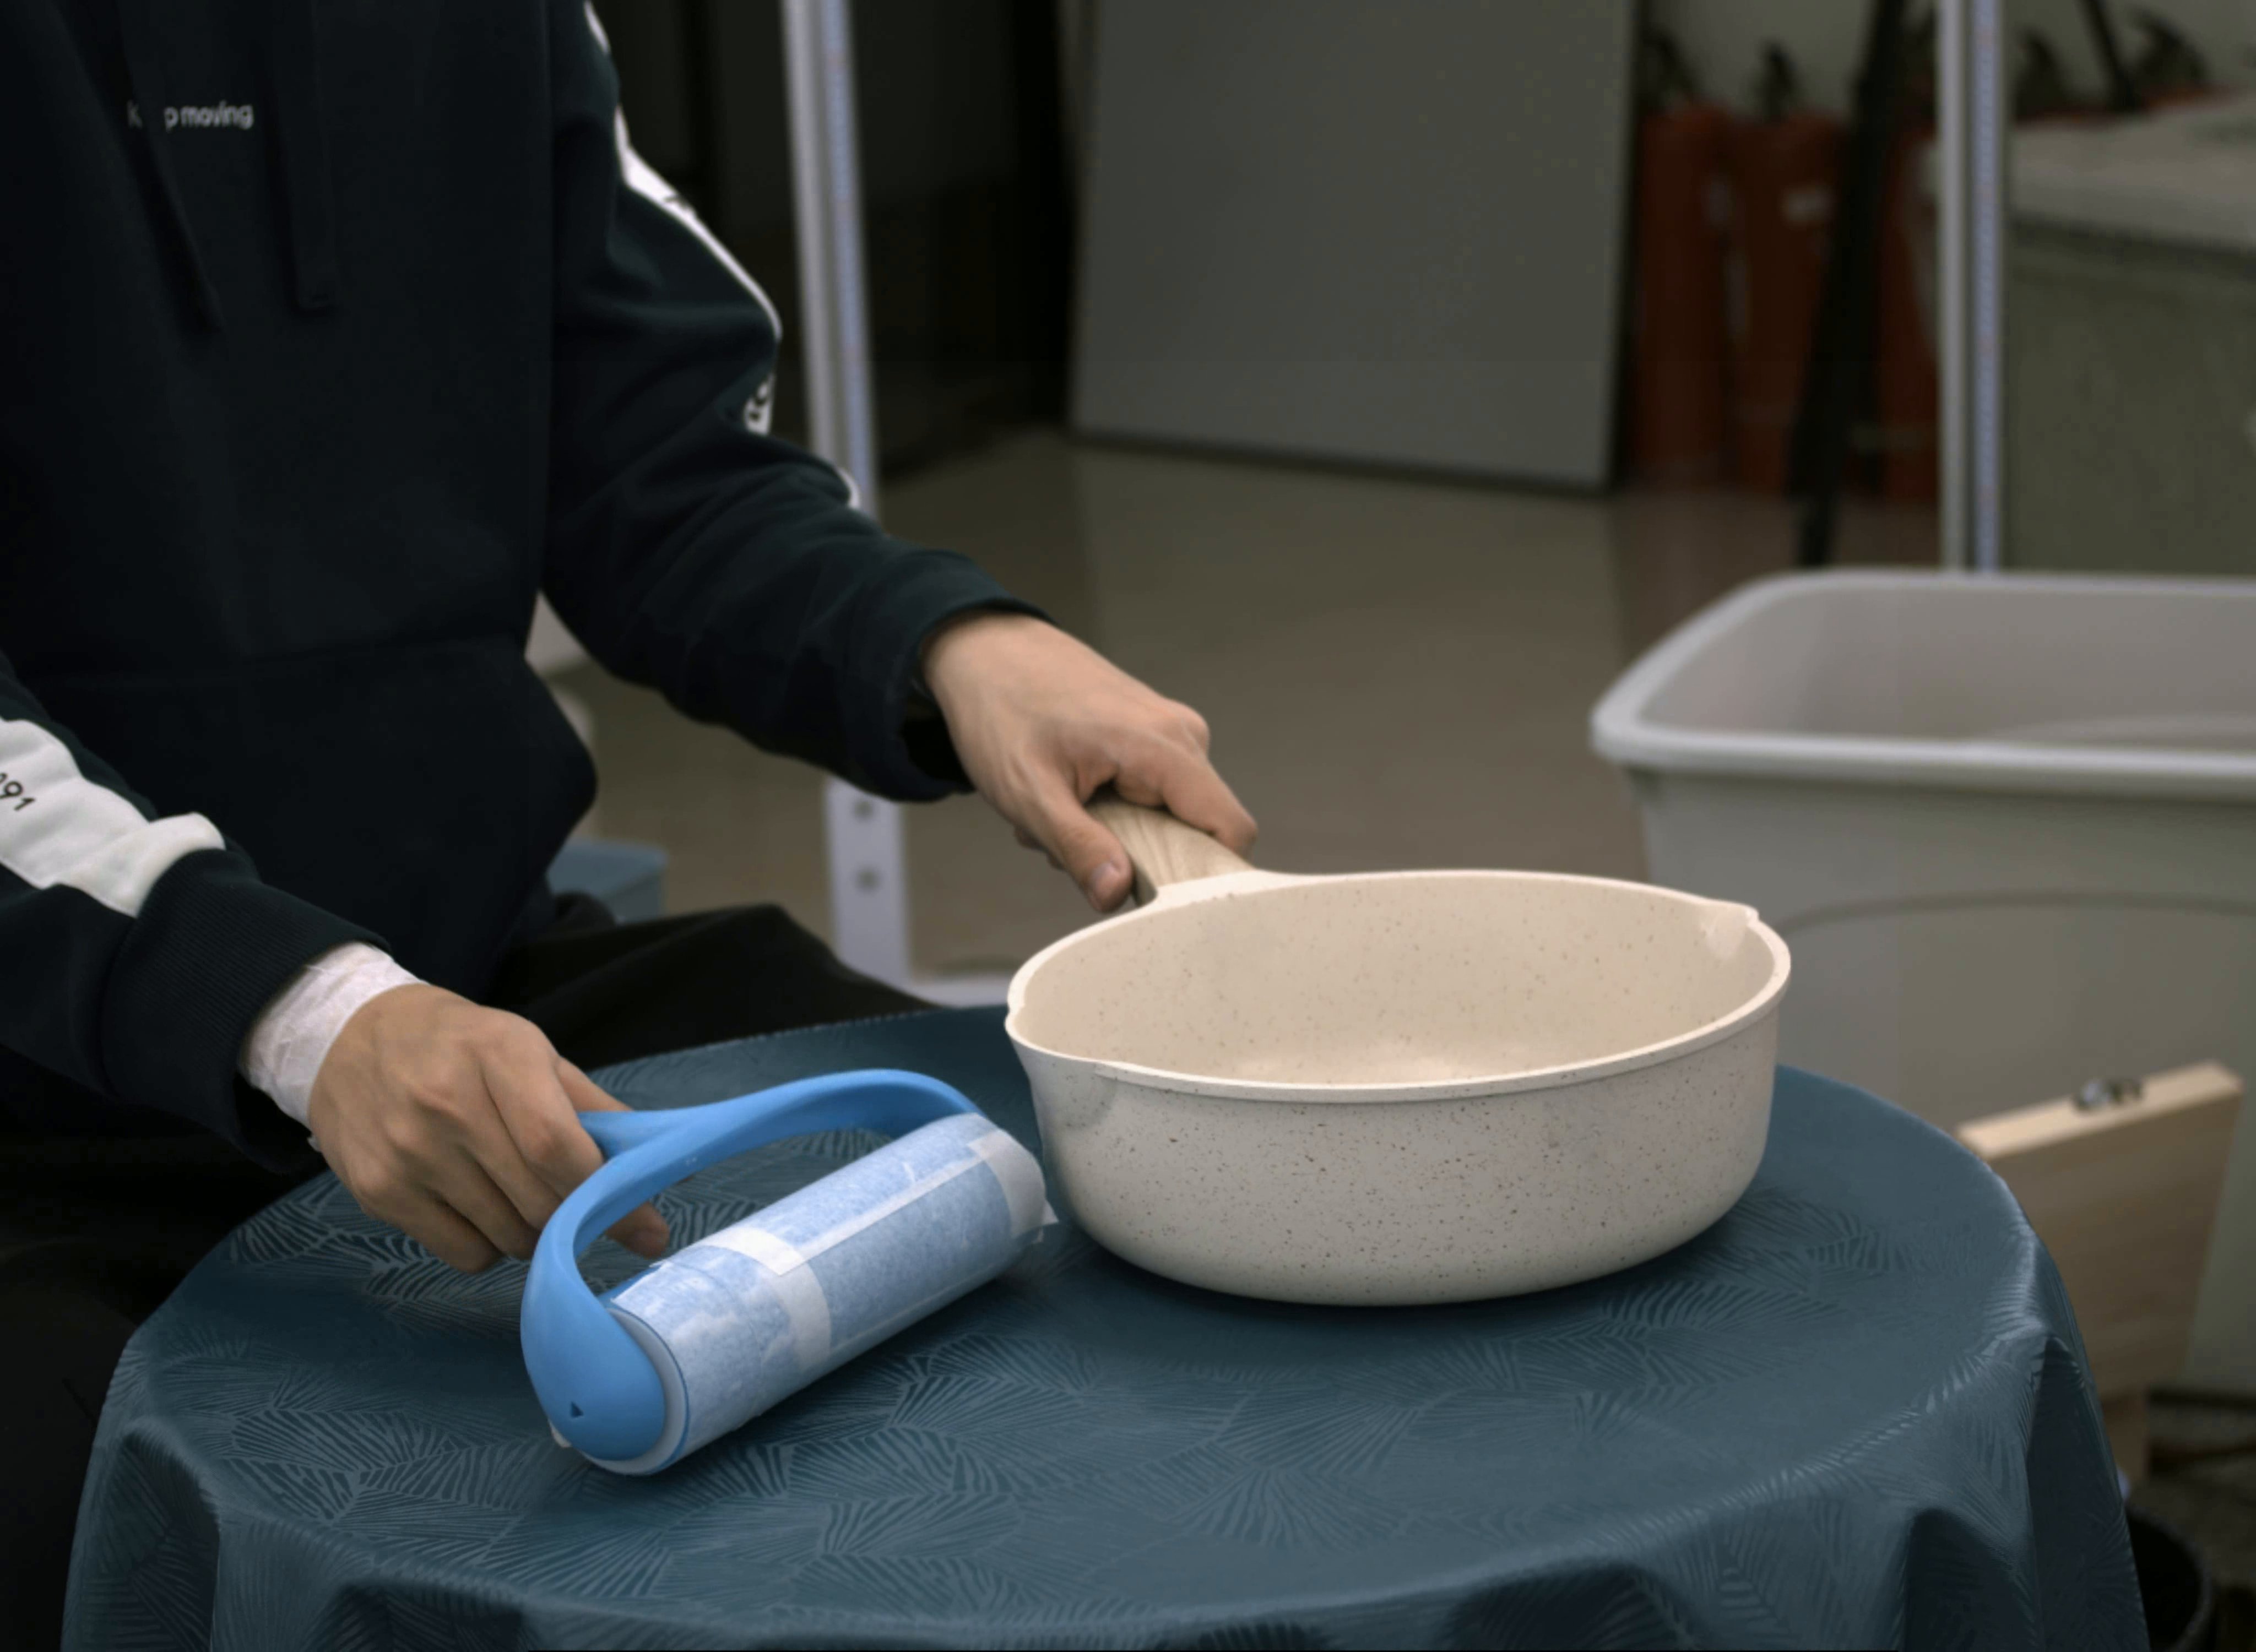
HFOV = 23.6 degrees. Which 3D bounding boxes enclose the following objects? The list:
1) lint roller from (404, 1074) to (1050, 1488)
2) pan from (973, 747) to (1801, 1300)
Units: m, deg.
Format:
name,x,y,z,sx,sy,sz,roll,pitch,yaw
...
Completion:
name,x,y,z,sx,sy,sz,roll,pitch,yaw
lint roller,-0.146,0.122,1.640,0.181,0.068,0.225,17,25,26
pan,0.053,0.059,1.799,0.258,0.103,0.439,-11,15,-23
